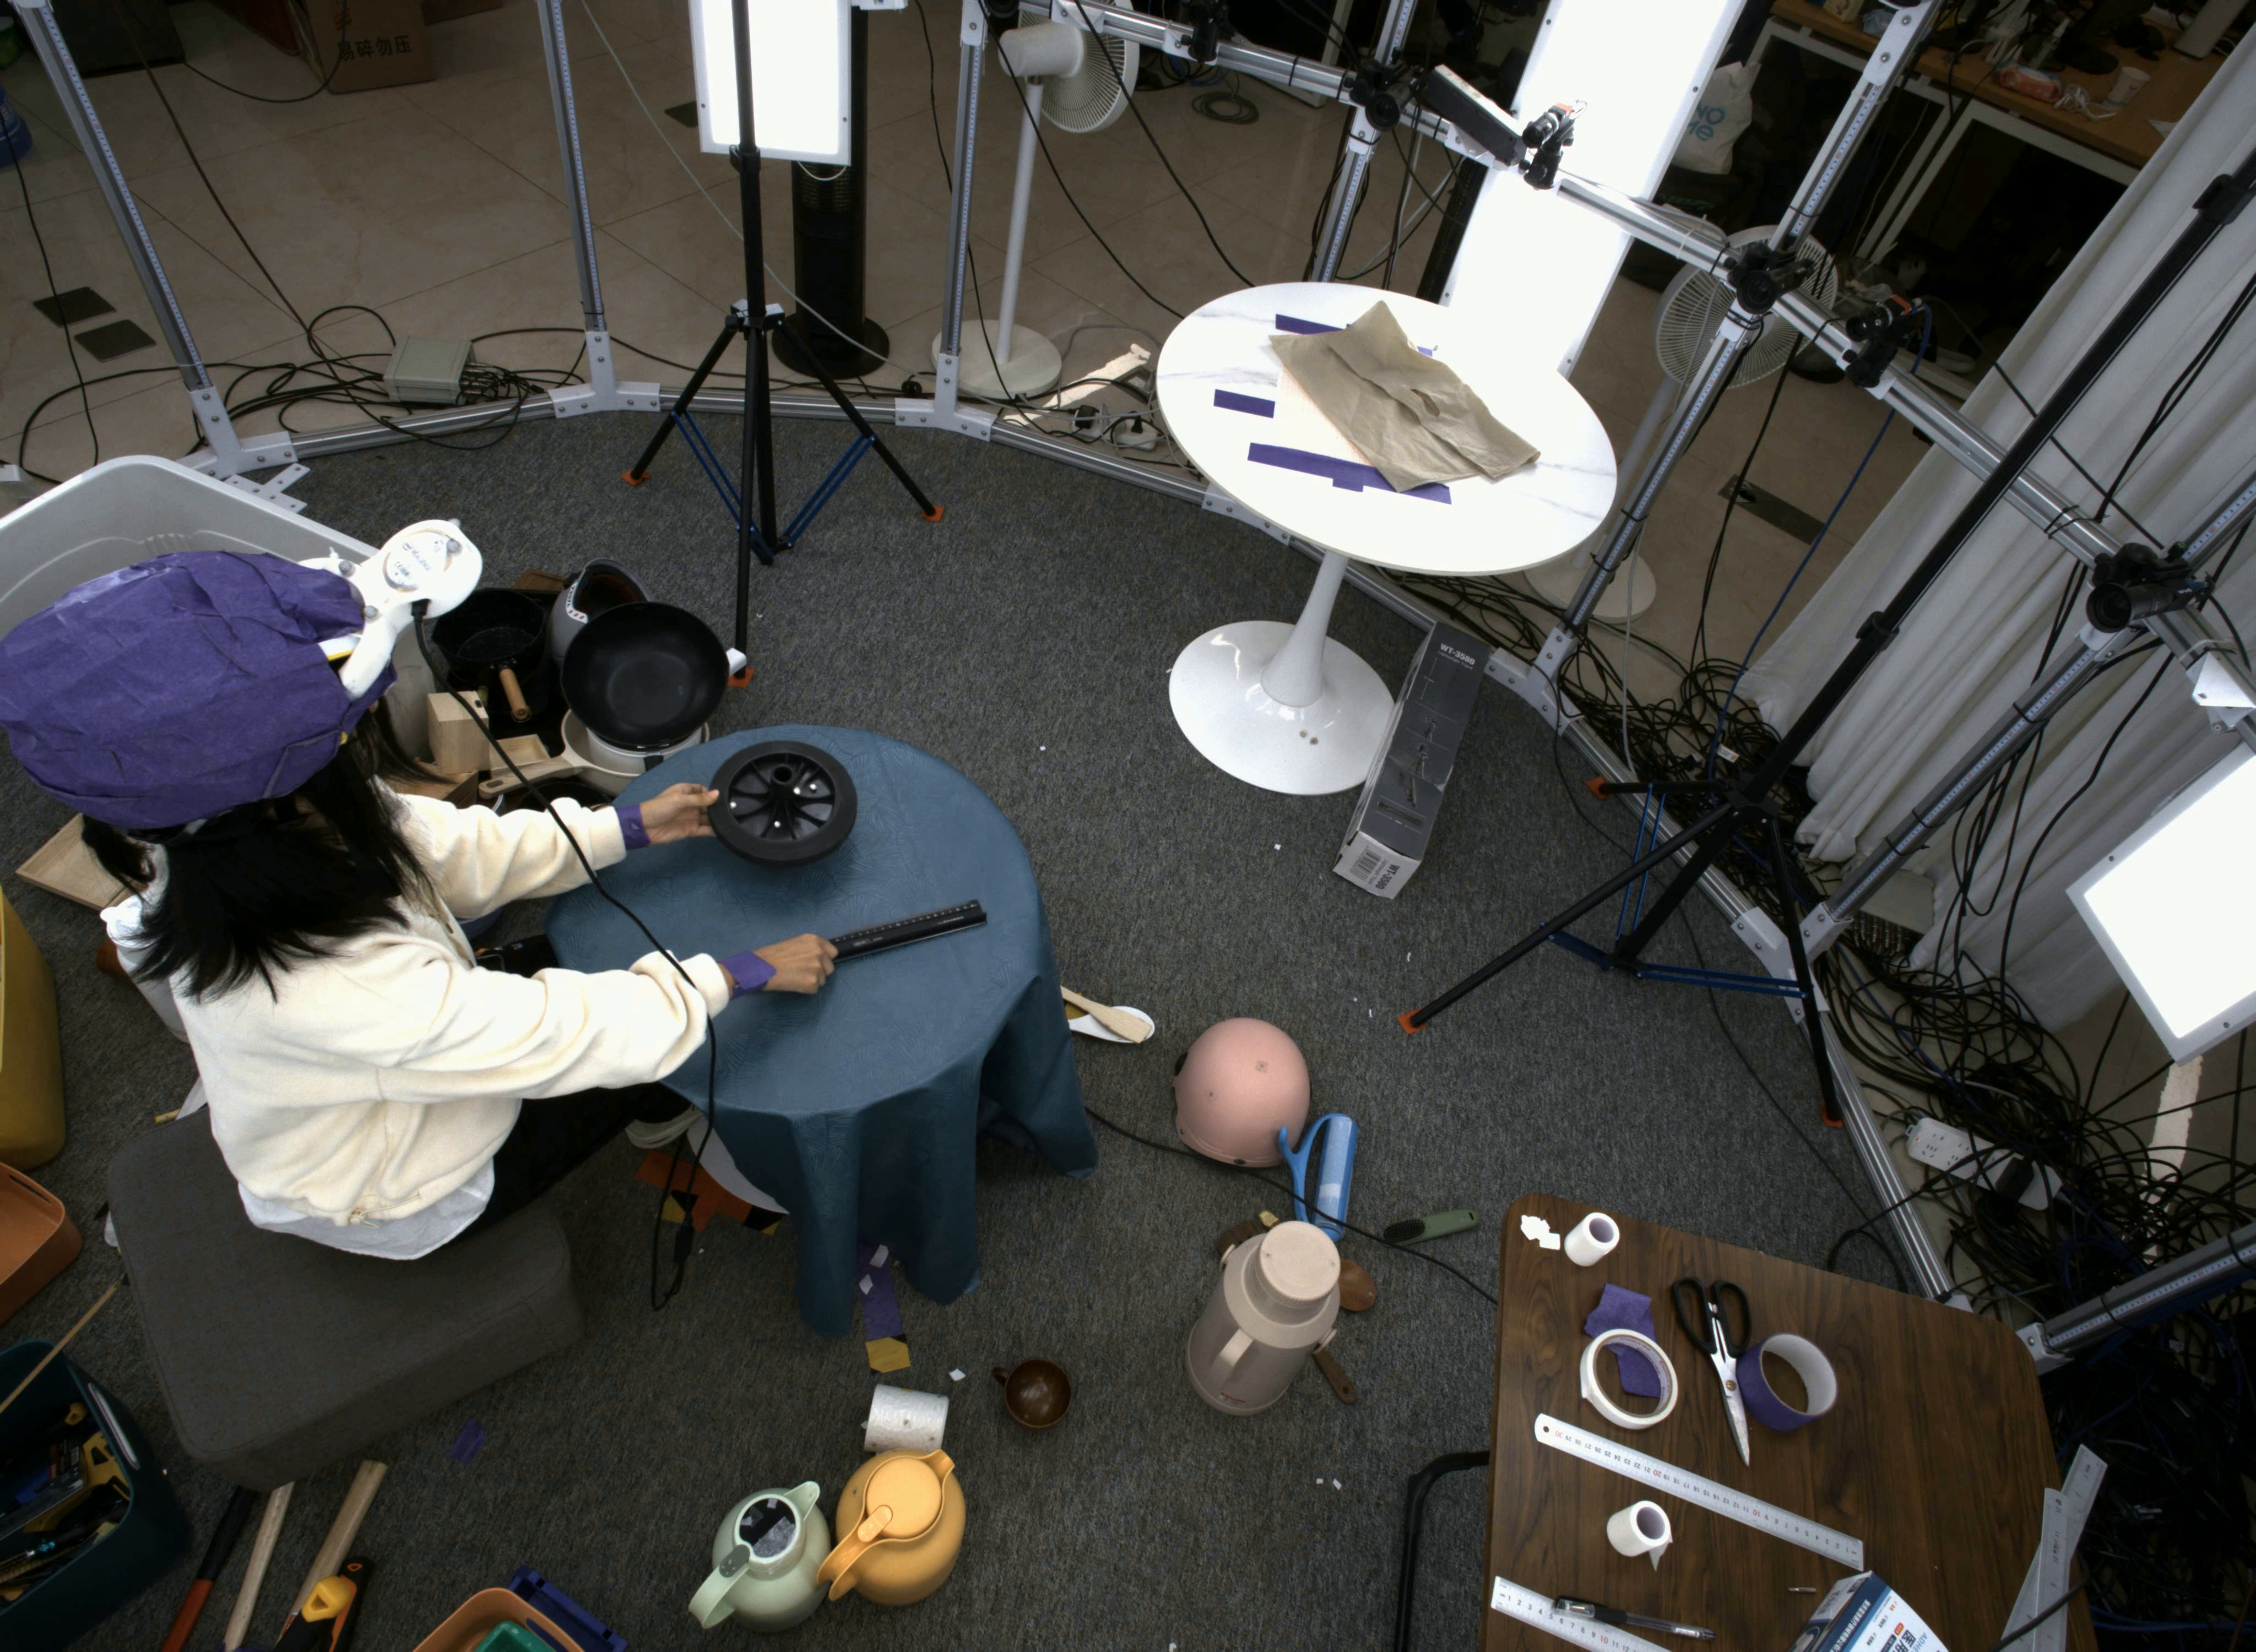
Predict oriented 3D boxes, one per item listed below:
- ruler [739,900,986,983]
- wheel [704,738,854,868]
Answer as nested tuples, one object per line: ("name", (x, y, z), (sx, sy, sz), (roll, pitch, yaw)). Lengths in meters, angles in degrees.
("ruler", (-0.327, 0.136, 1.623), (0.314, 0.017, 0.038), (-13, 57, -25))
("wheel", (-0.440, -0.045, 1.632), (0.188, 0.080, 0.186), (1, 56, -16))
